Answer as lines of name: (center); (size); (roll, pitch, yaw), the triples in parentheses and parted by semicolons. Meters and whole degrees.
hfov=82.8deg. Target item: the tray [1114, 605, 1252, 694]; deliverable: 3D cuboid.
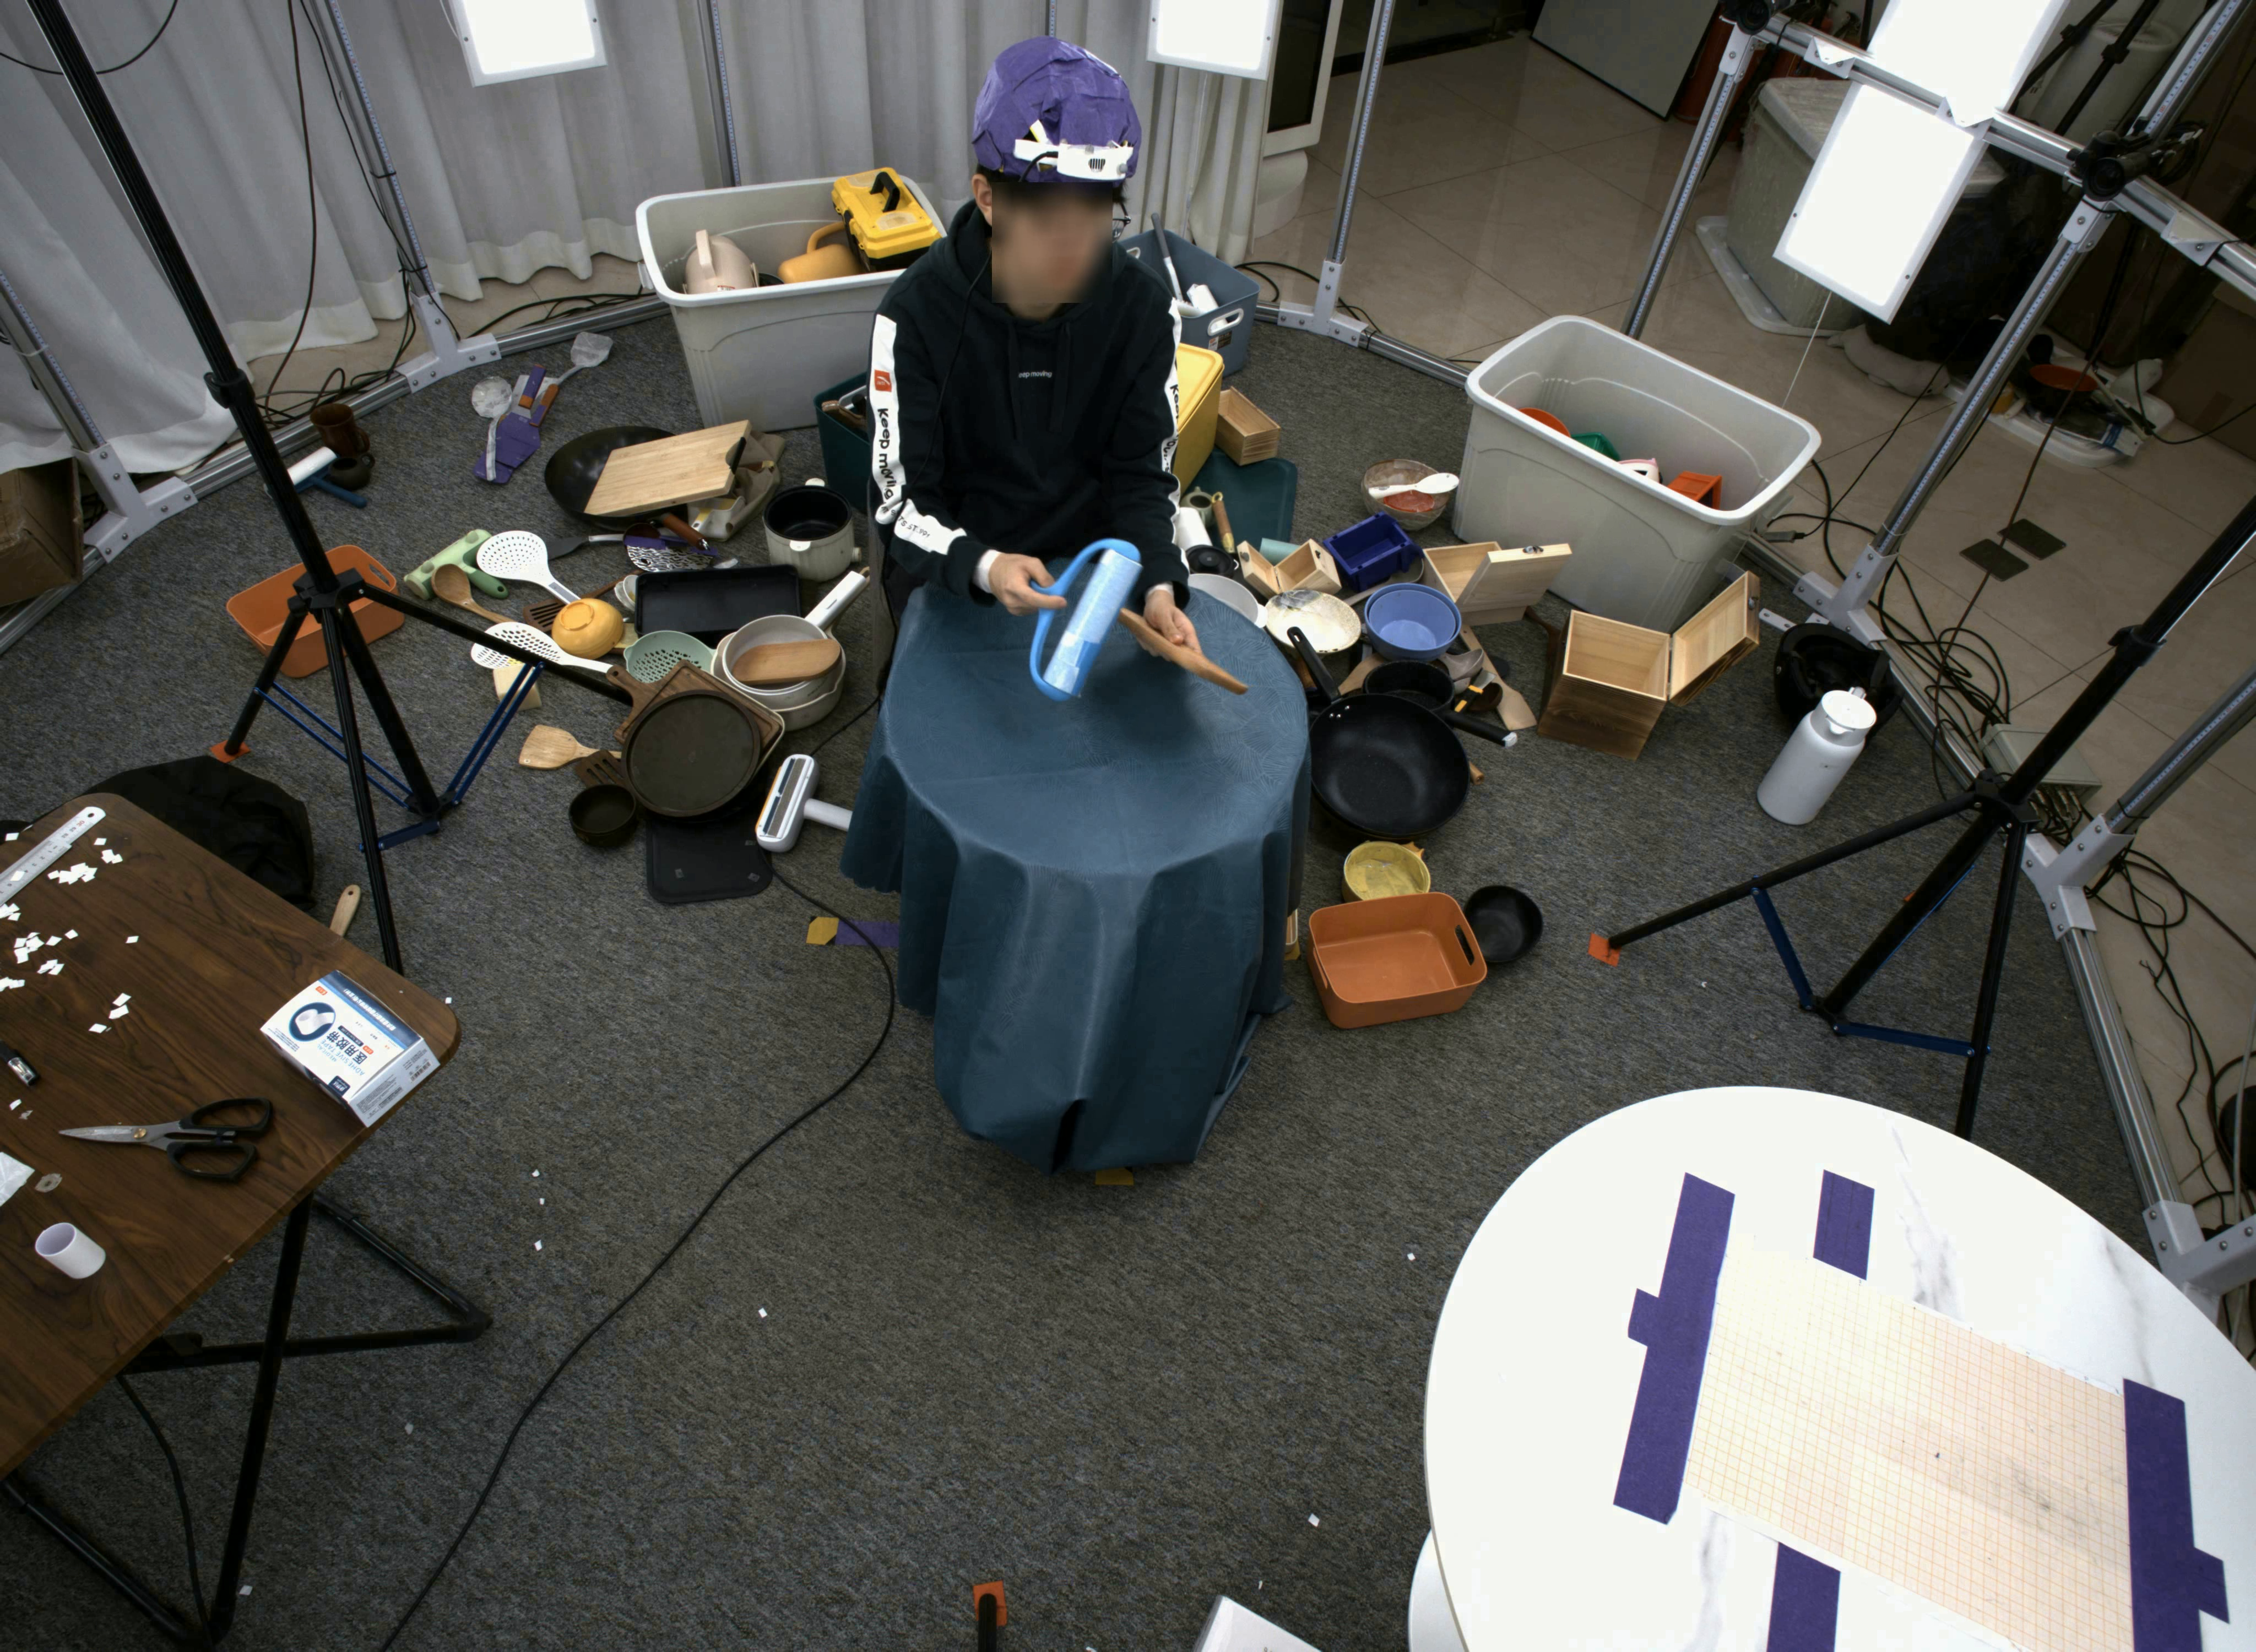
tray: (0.061, -0.247, 1.755); (0.129, 0.023, 0.255); (22, 13, -42)

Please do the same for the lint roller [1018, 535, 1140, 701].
lint roller: (-0.094, -0.296, 1.716); (0.183, 0.227, 0.067); (29, 11, 30)
